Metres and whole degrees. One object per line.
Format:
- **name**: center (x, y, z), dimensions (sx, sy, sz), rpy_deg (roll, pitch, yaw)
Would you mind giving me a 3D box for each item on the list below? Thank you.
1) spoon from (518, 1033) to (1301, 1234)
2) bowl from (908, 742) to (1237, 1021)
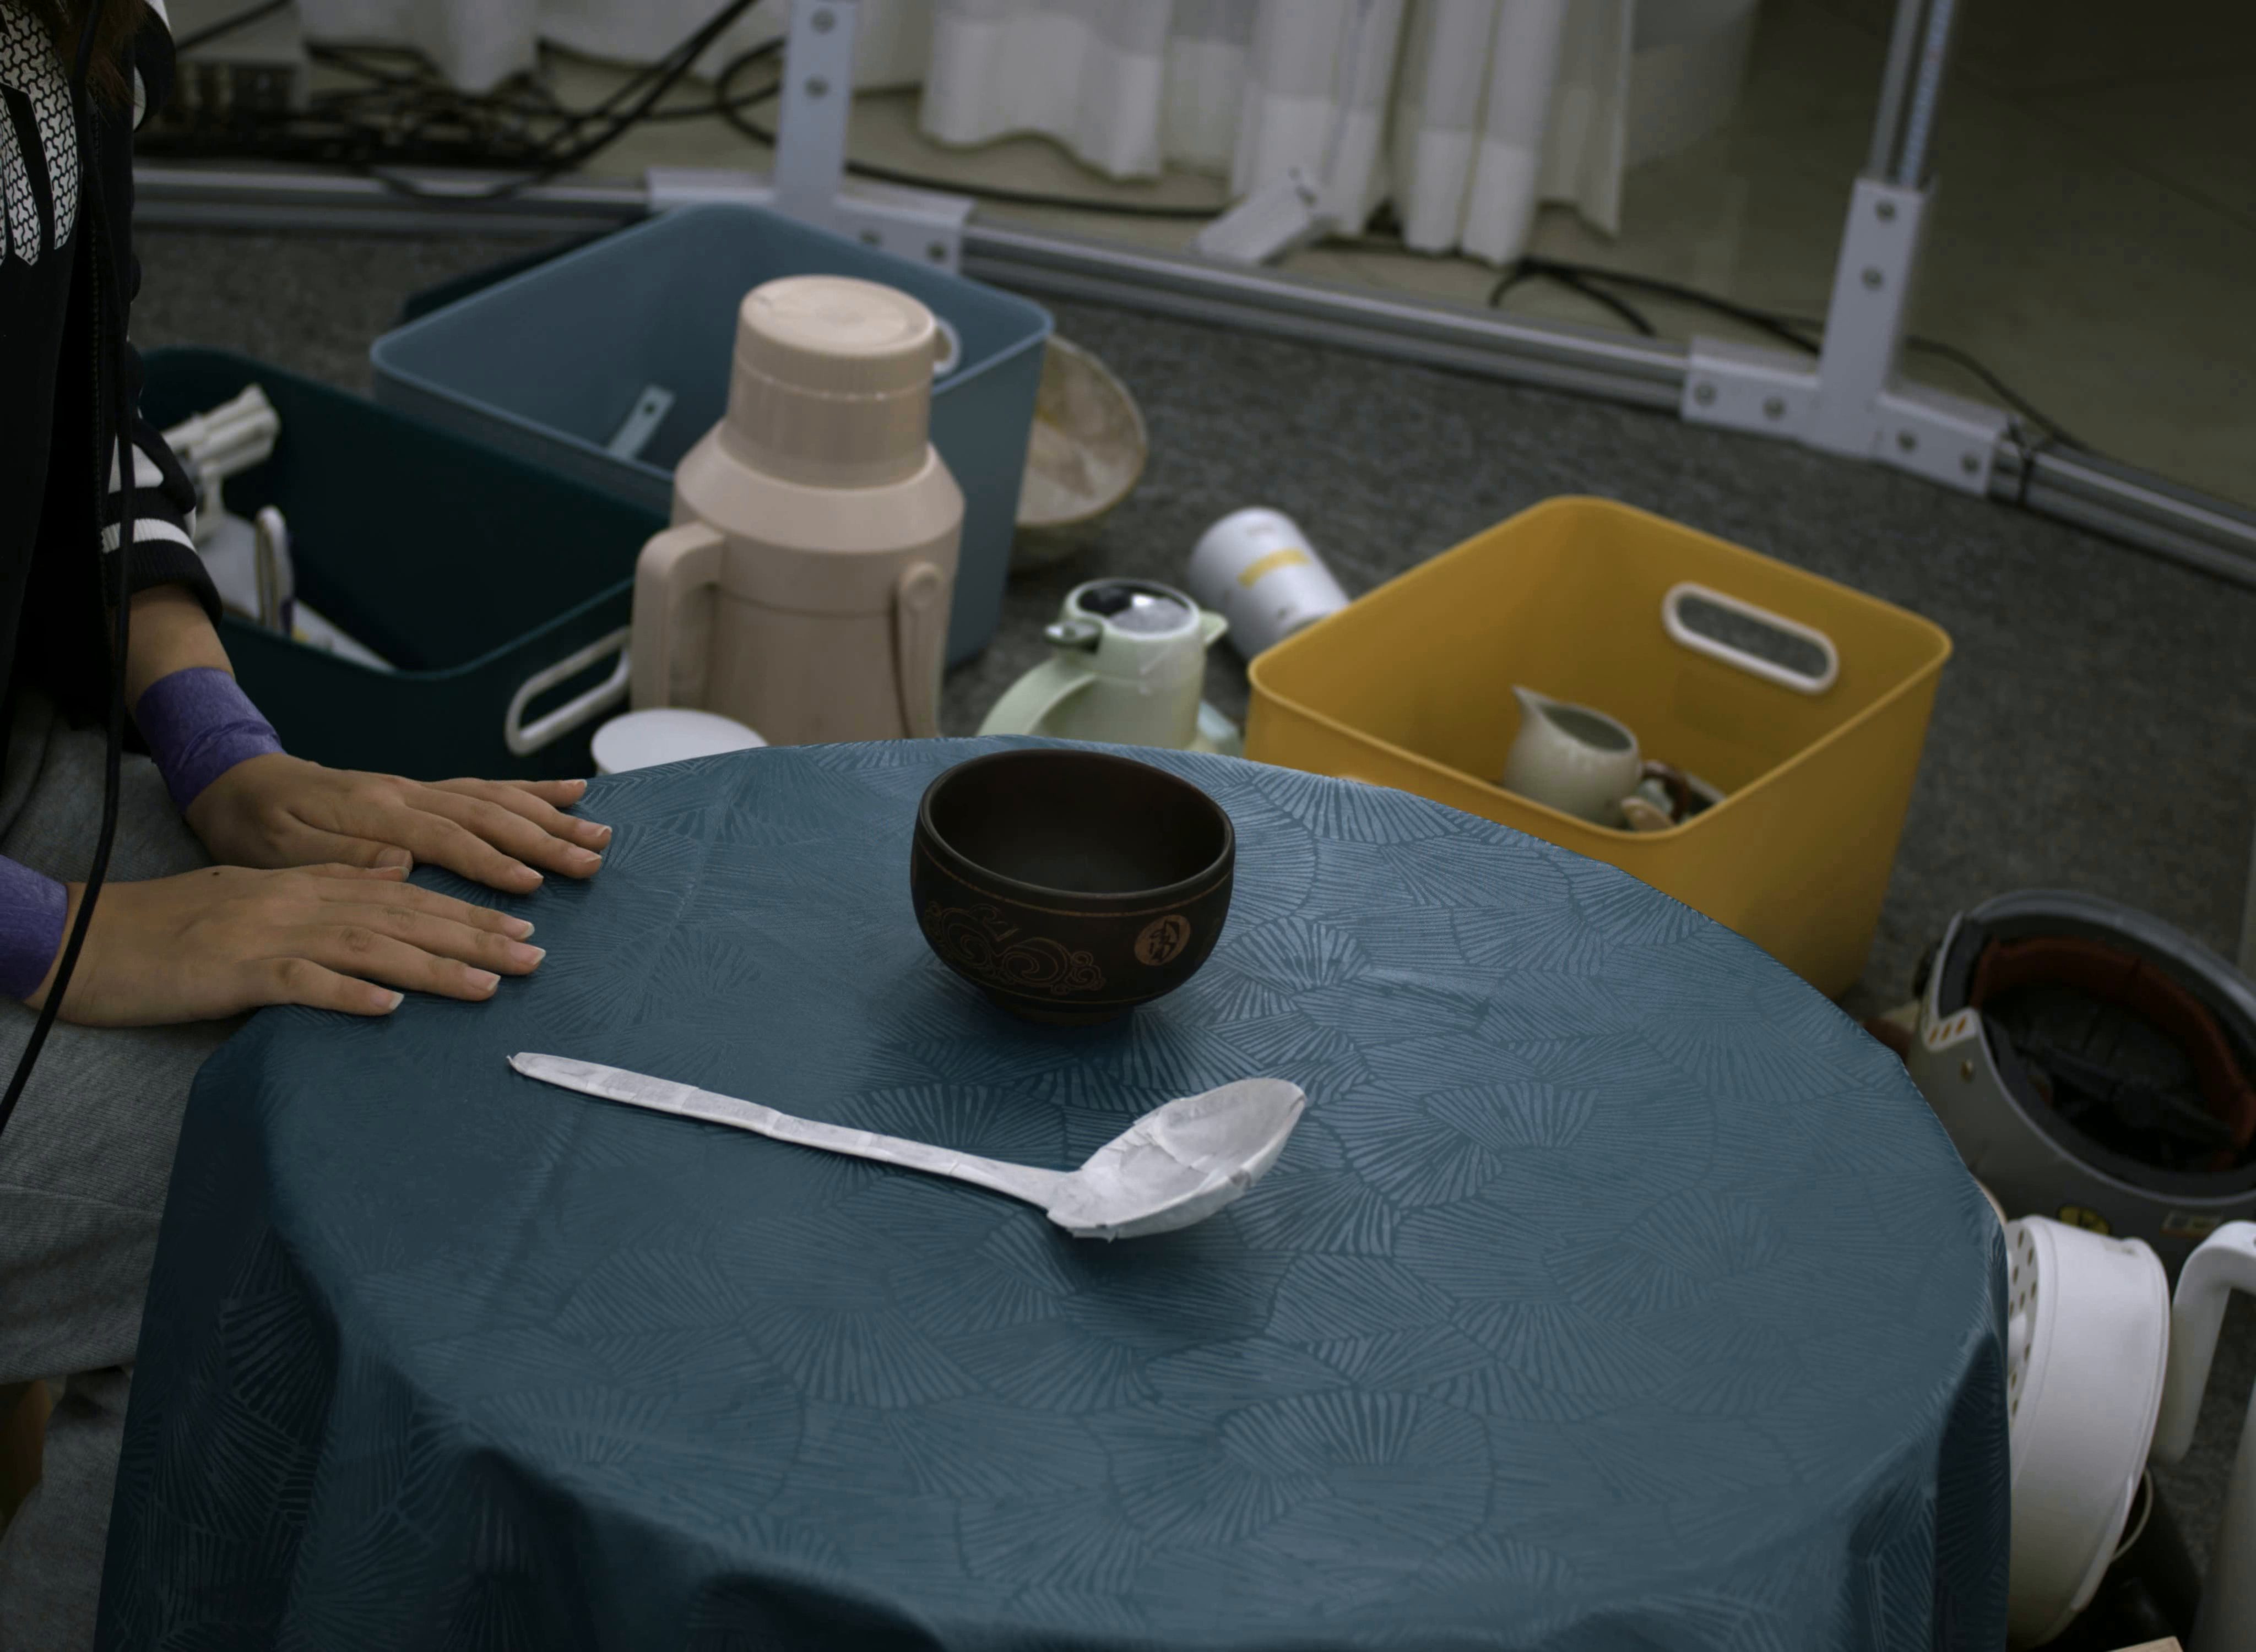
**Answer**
- **spoon**: center (-0.077, 0.084, 1.800), dimensions (0.278, 0.059, 0.101), rpy_deg (15, 24, 15)
- **bowl**: center (-0.022, 0.026, 1.907), dimensions (0.117, 0.069, 0.119), rpy_deg (5, 26, -3)
